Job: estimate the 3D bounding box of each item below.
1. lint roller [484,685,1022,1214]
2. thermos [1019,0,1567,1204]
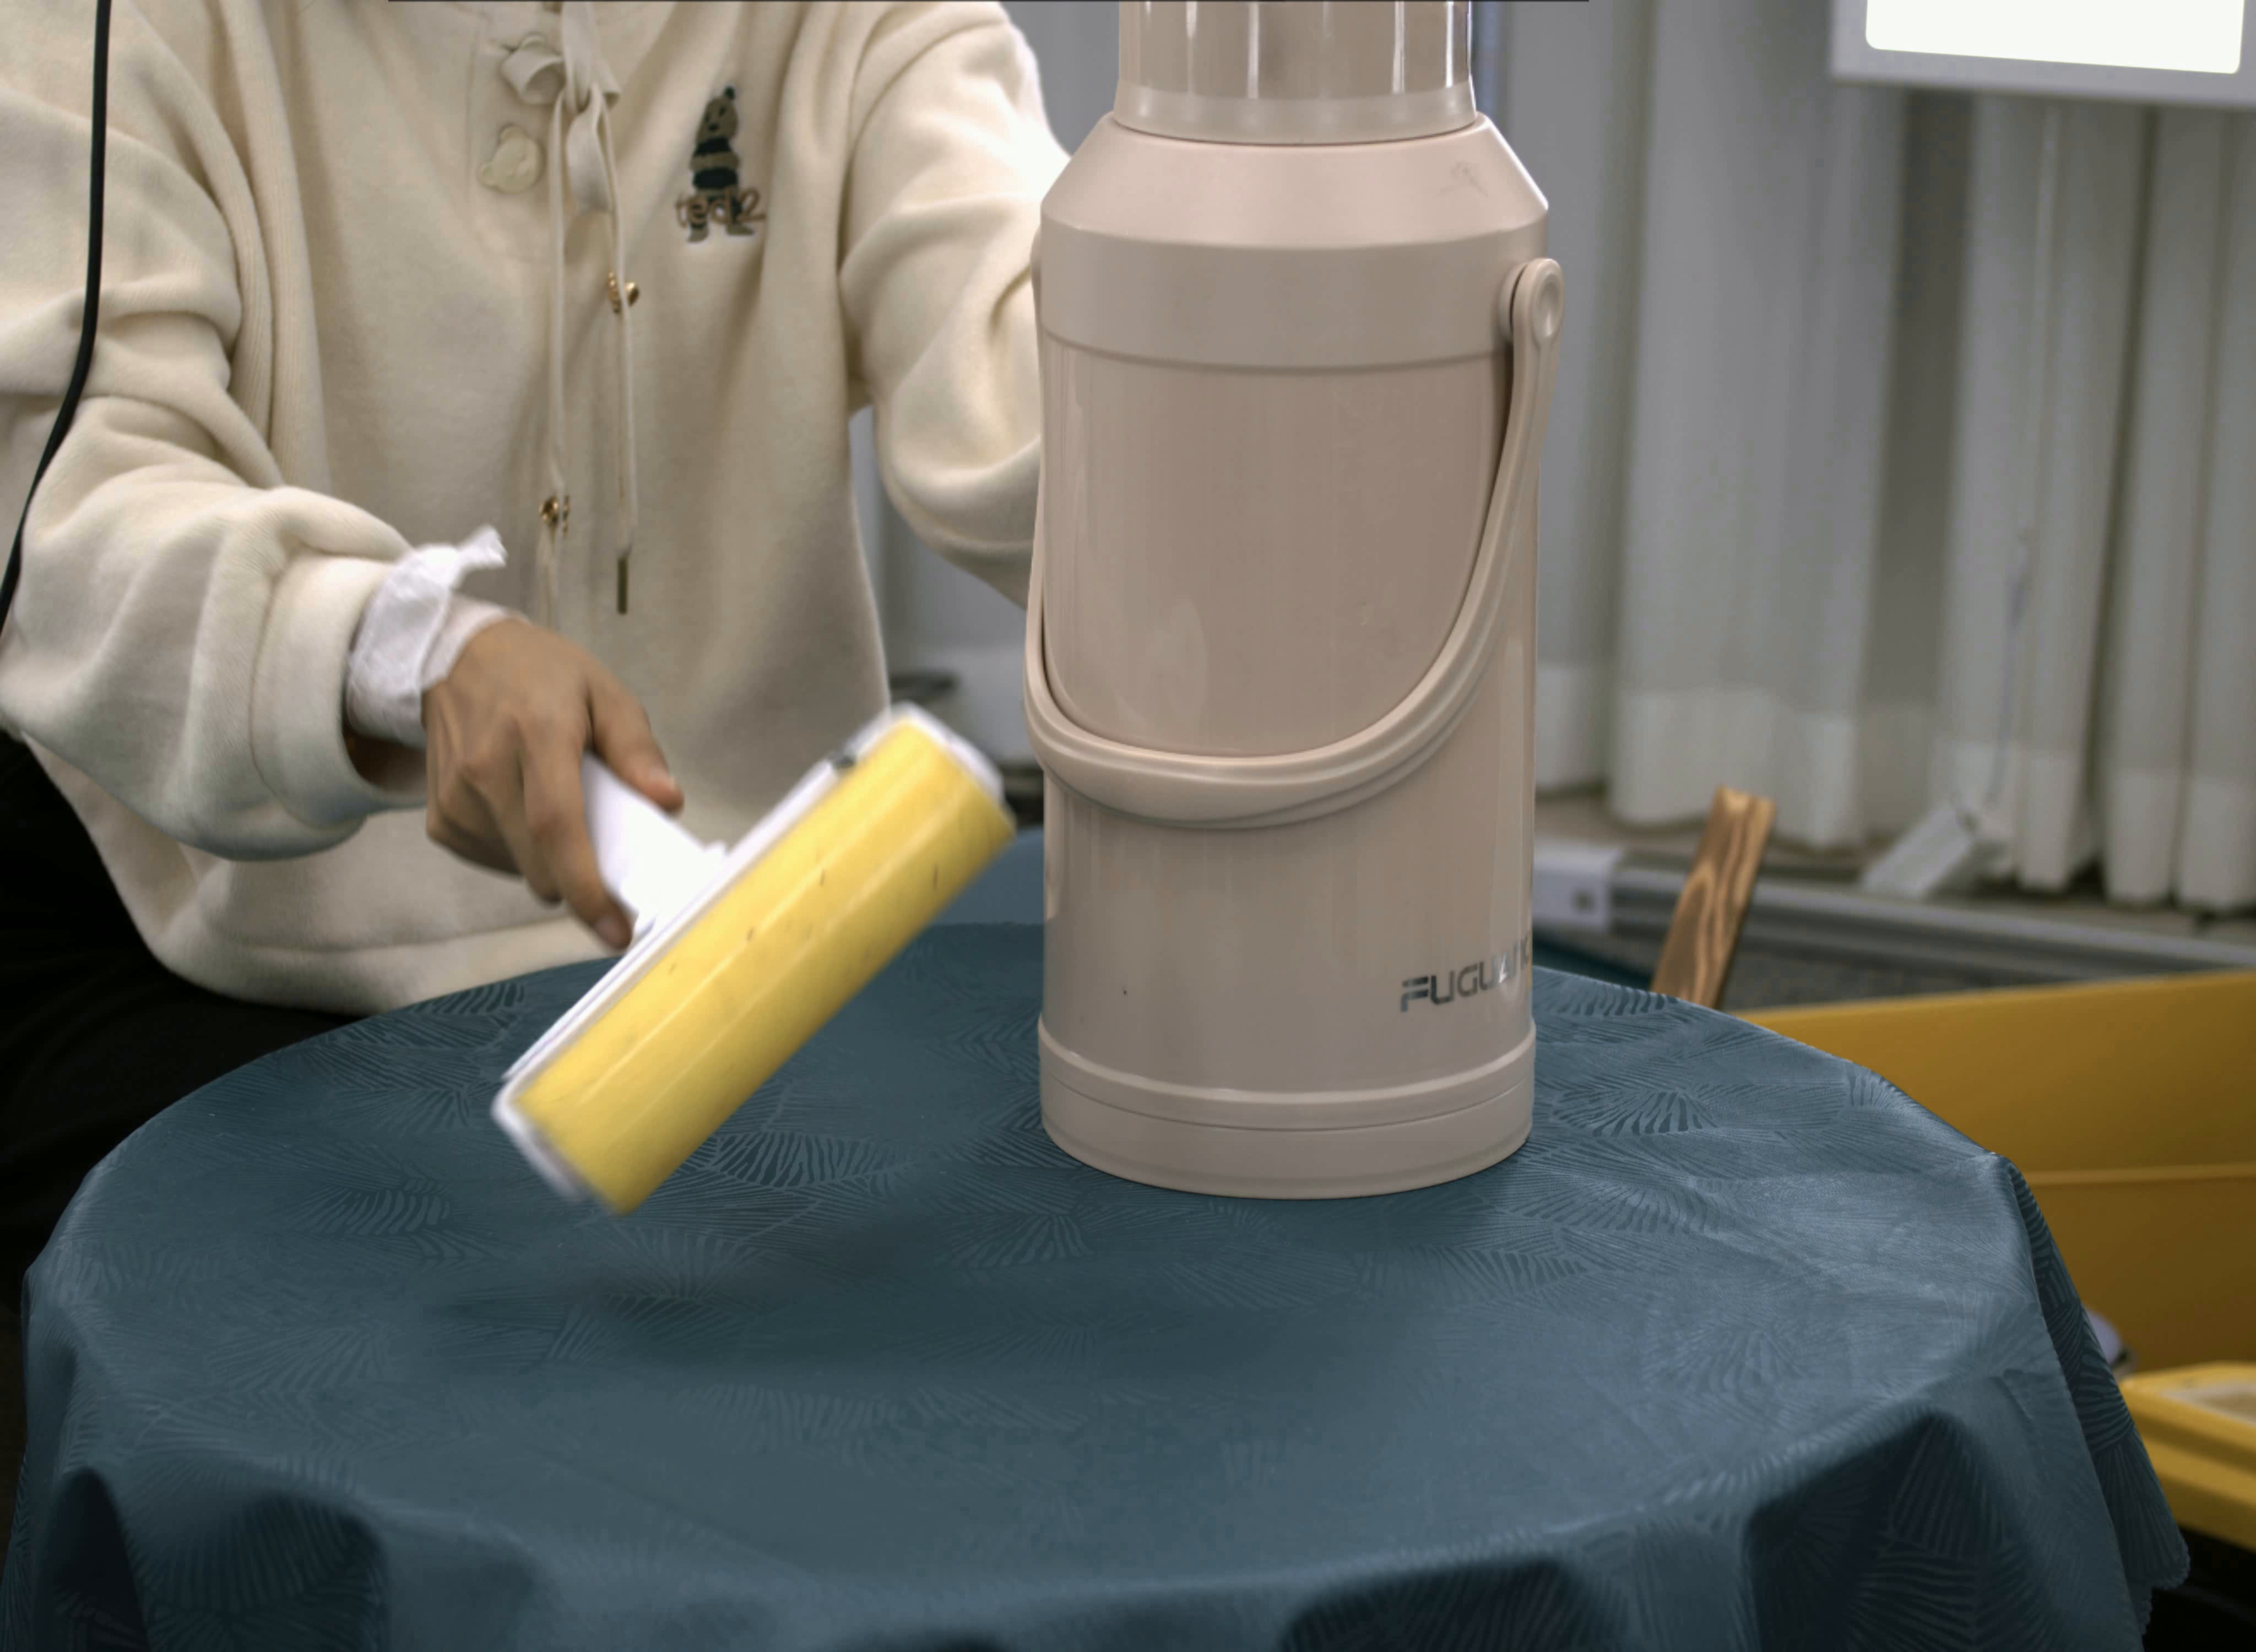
[{"bbox_3d":[-0.145,0.006,1.568,0.189,0.174,0.052,37,-8,39],"label":"lint roller"},{"bbox_3d":[0.059,-0.099,1.643,0.173,0.409,0.207,9,18,29],"label":"thermos"}]
